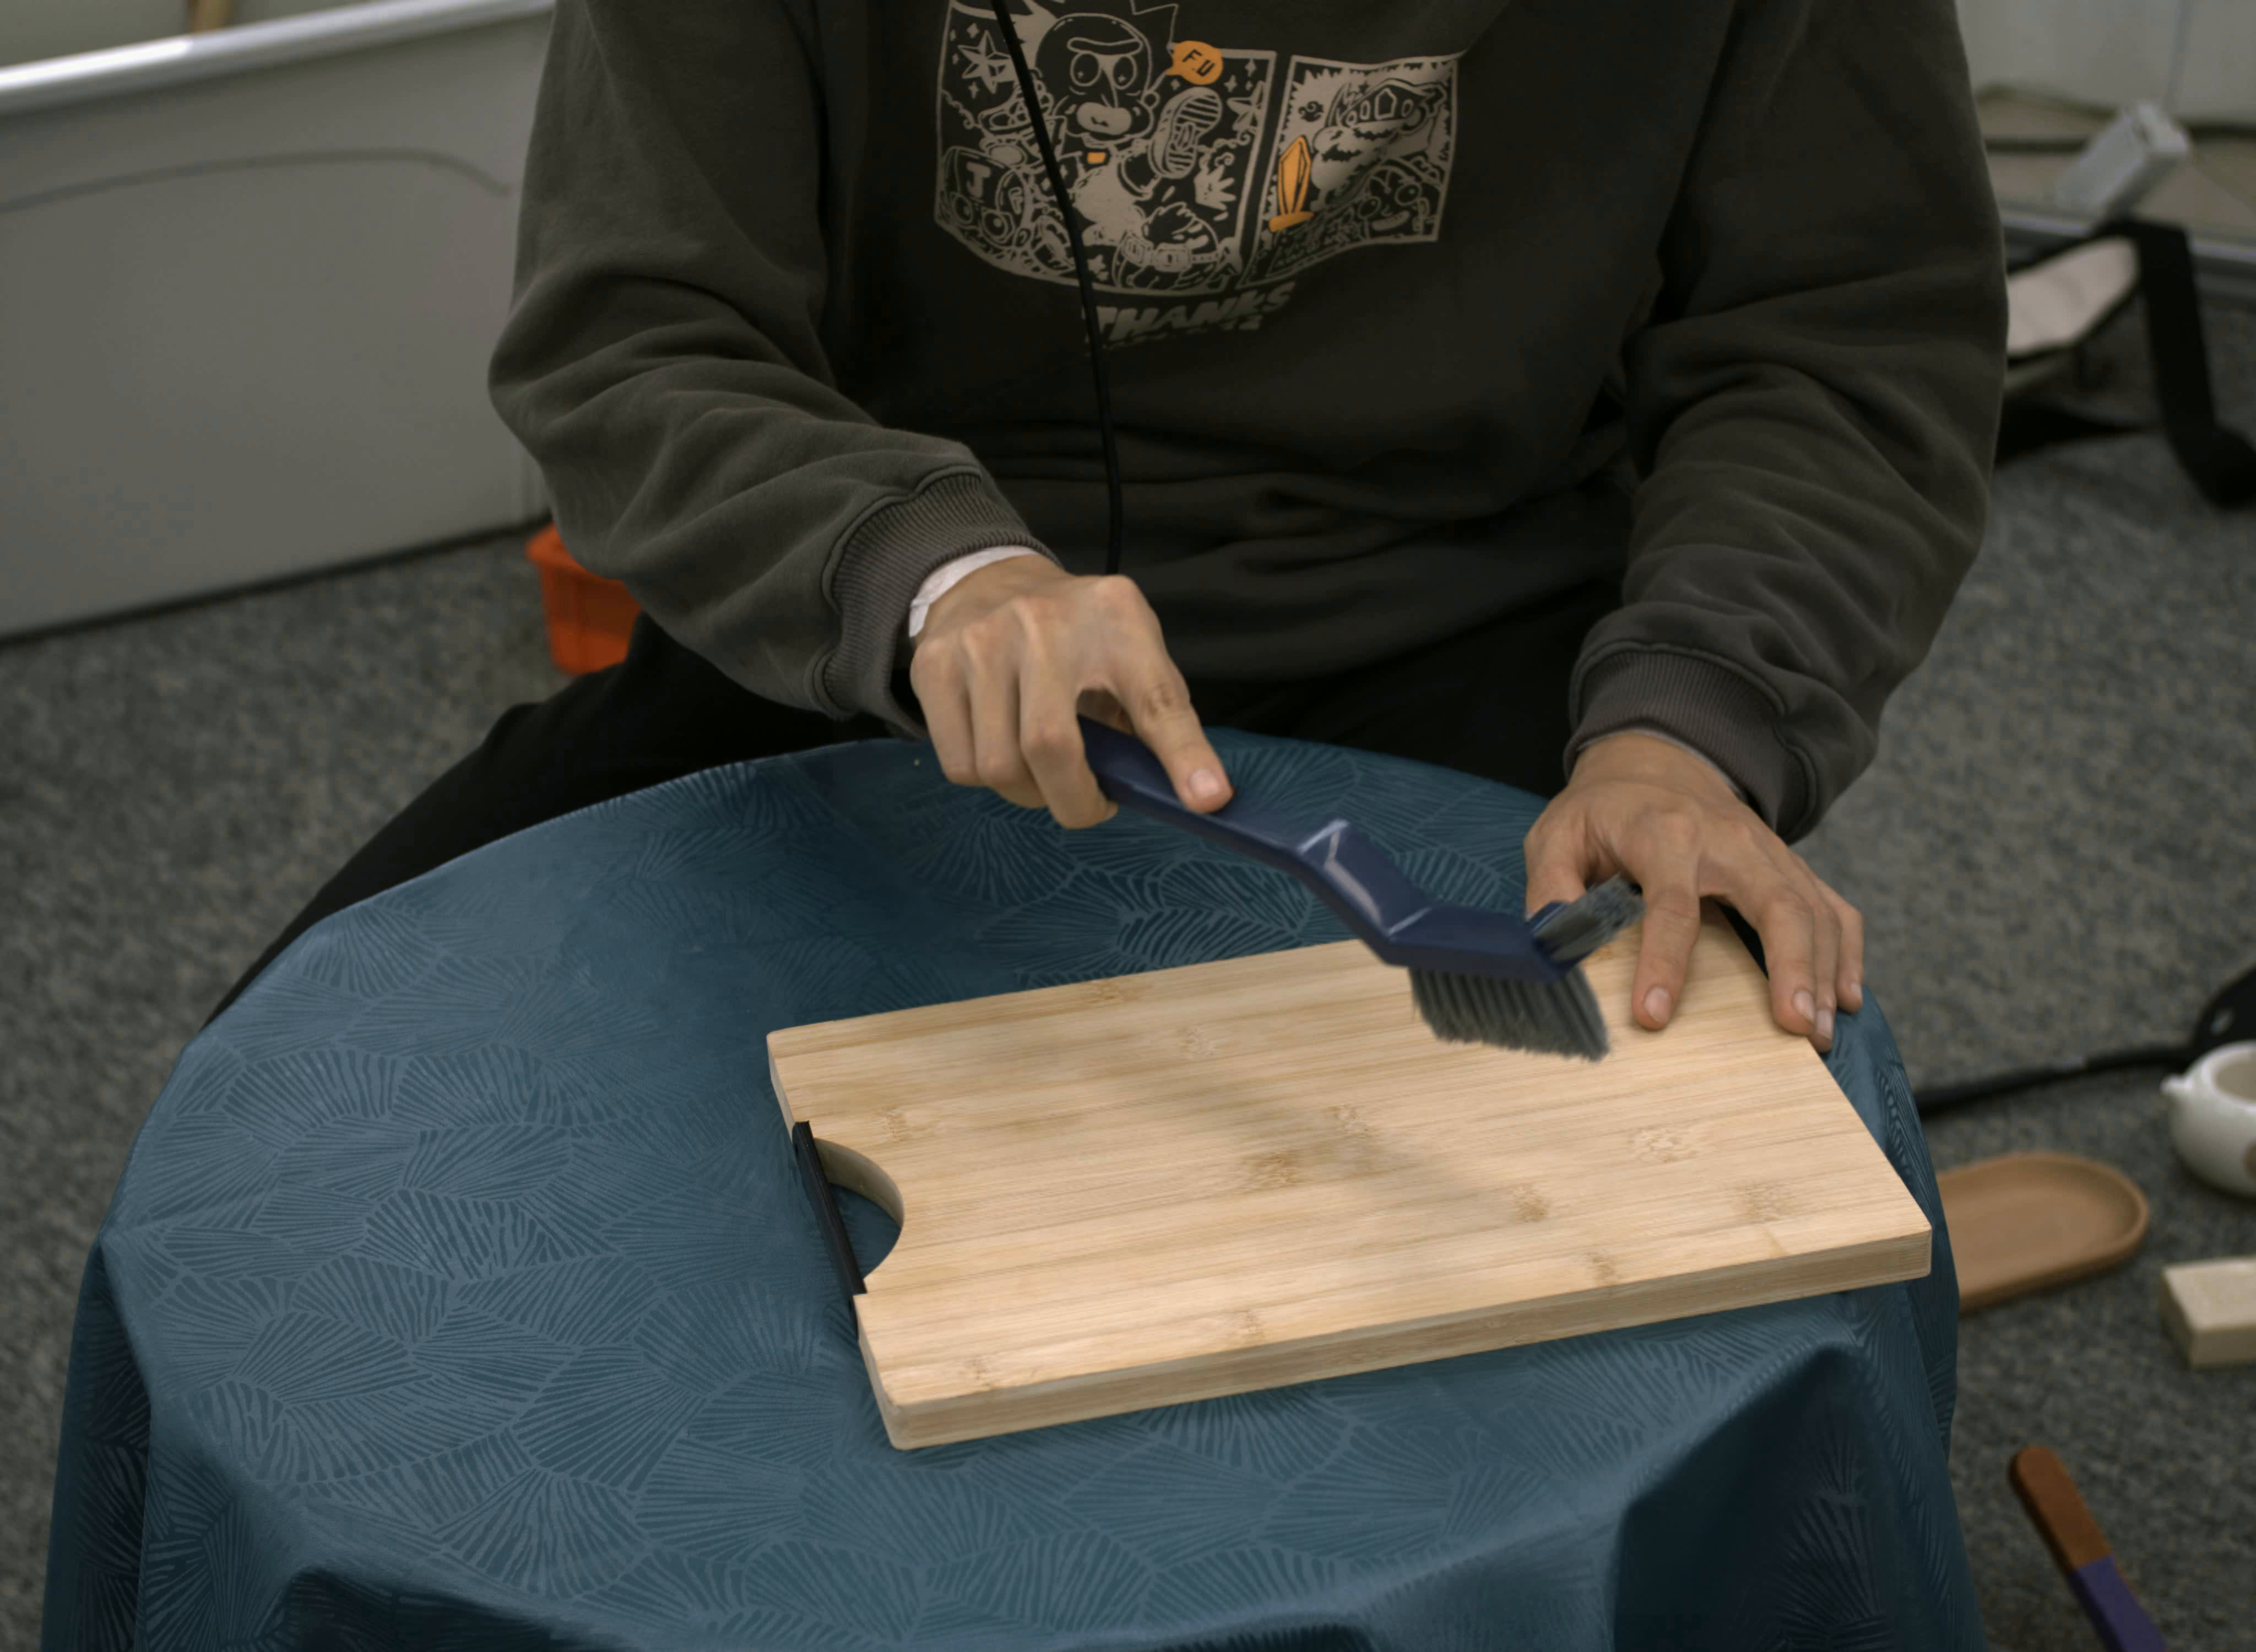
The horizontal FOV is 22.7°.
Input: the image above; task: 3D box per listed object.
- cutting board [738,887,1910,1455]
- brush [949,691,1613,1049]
[{"bbox_3d":[0.060,0.109,1.861,0.348,0.023,0.253,-9,28,-11],"label":"cutting board"},{"bbox_3d":[0.047,-0.002,1.810,0.273,0.094,0.034,30,51,32],"label":"brush"}]
